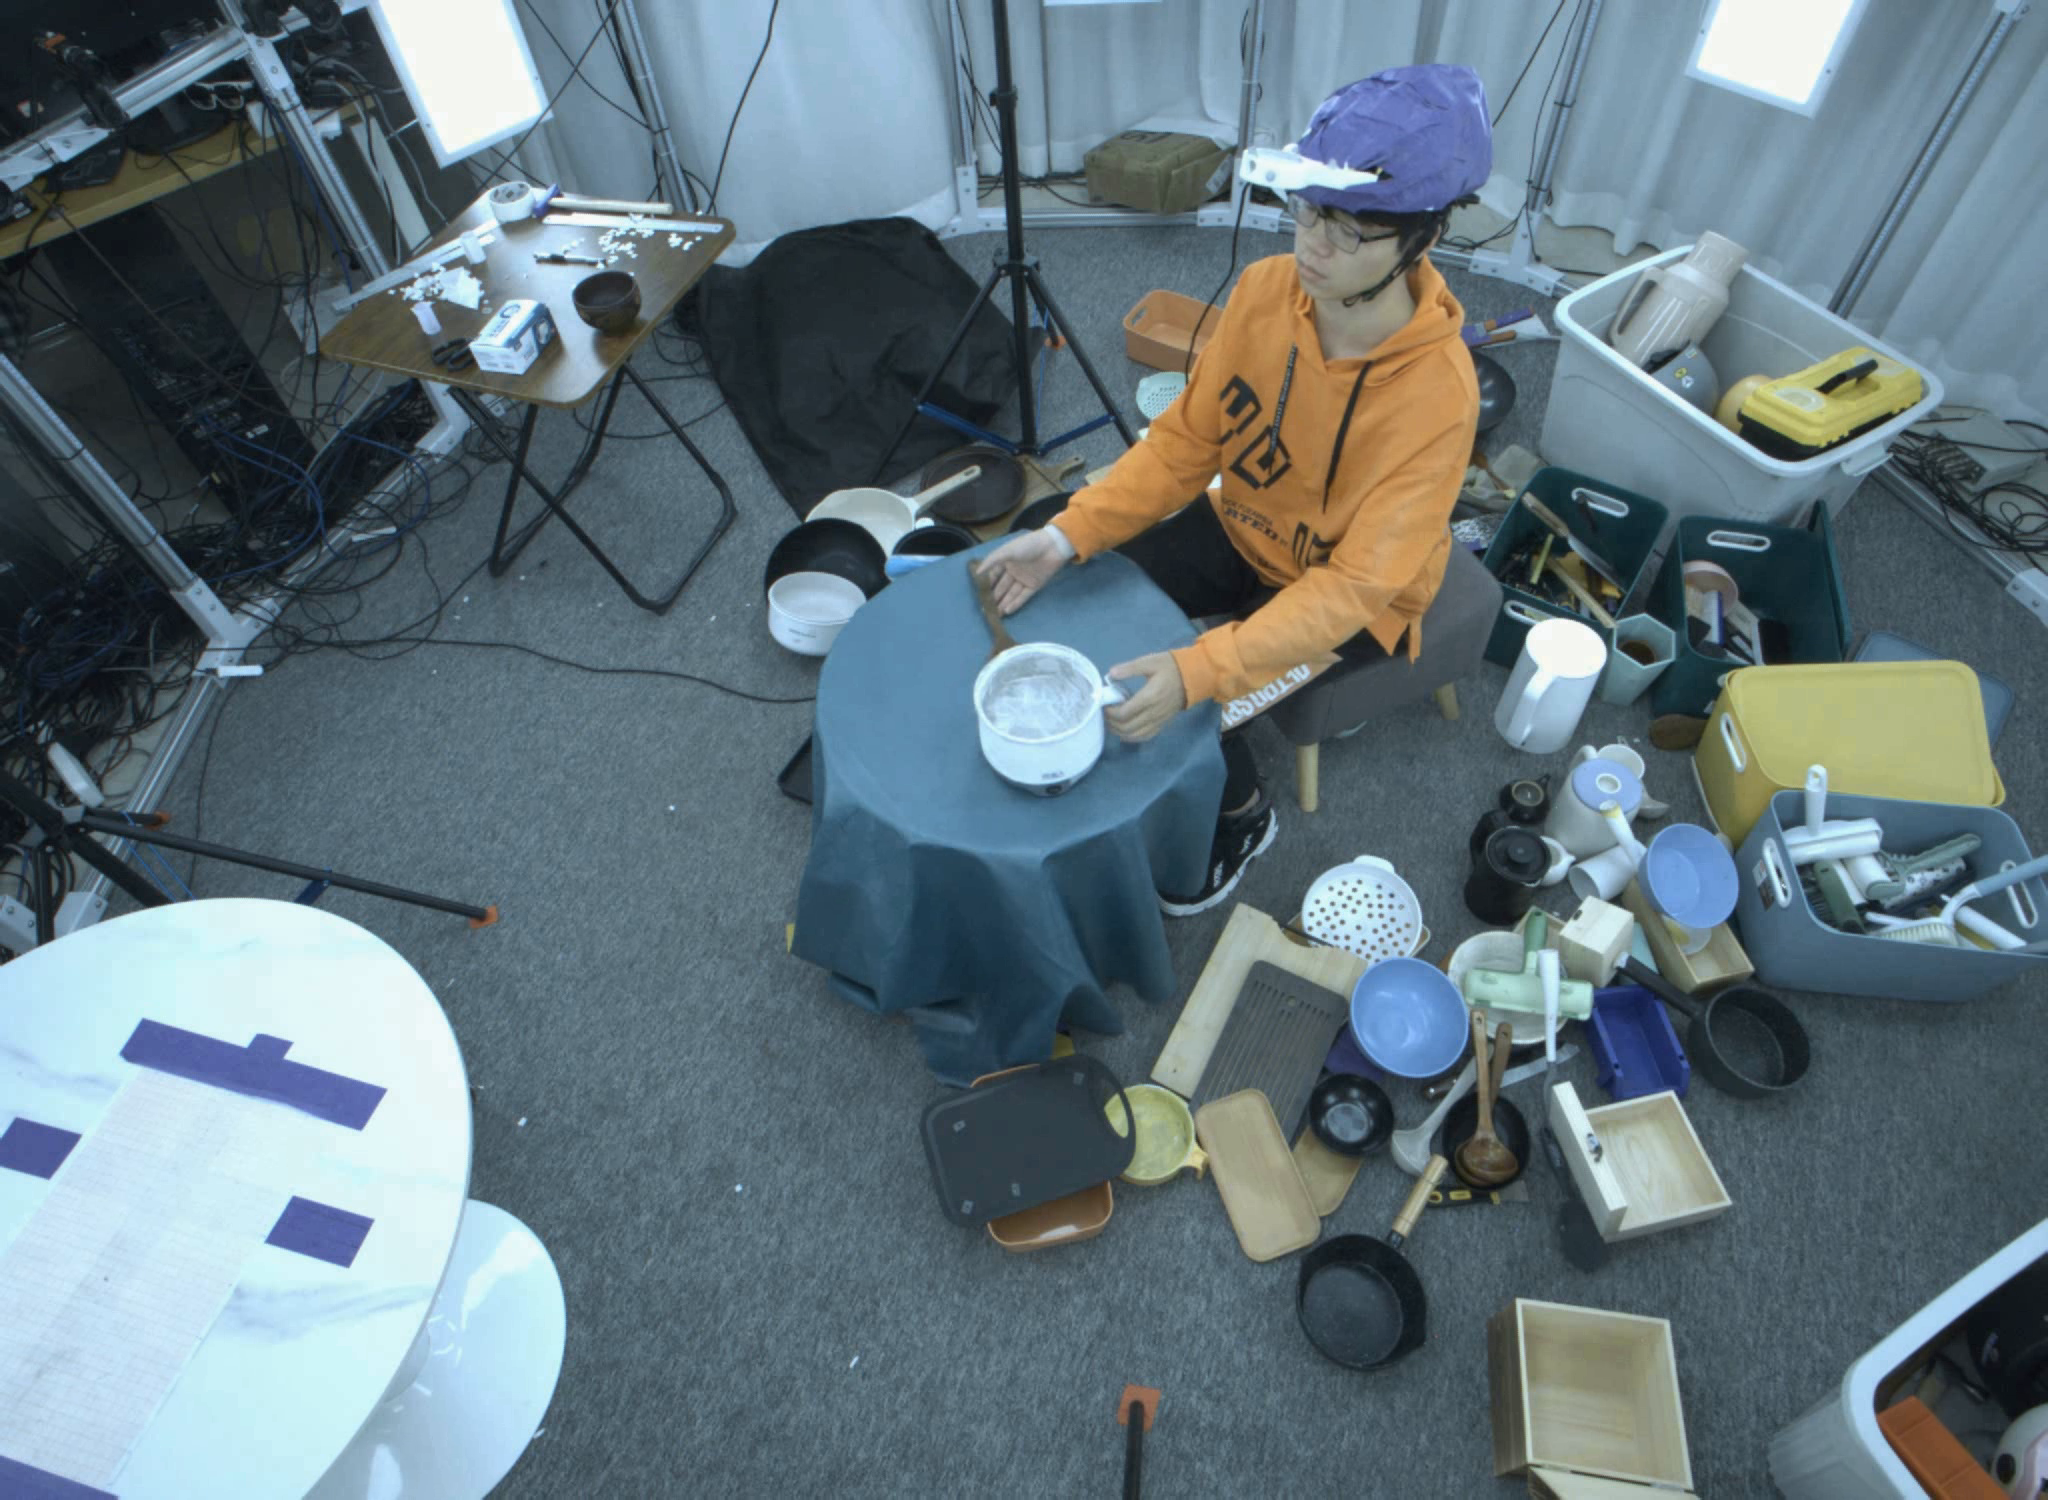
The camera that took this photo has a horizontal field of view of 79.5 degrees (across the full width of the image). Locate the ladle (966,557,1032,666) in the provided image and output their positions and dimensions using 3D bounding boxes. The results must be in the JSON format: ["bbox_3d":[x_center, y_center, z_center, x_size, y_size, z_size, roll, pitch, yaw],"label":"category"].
[{"bbox_3d":[-0.051,-0.227,1.906,0.076,0.072,0.270,-12,56,-9],"label":"ladle"}]

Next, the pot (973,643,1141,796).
[{"bbox_3d":[0.050,-0.048,1.734,0.234,0.138,0.176,-12,55,-5],"label":"pot"}]
